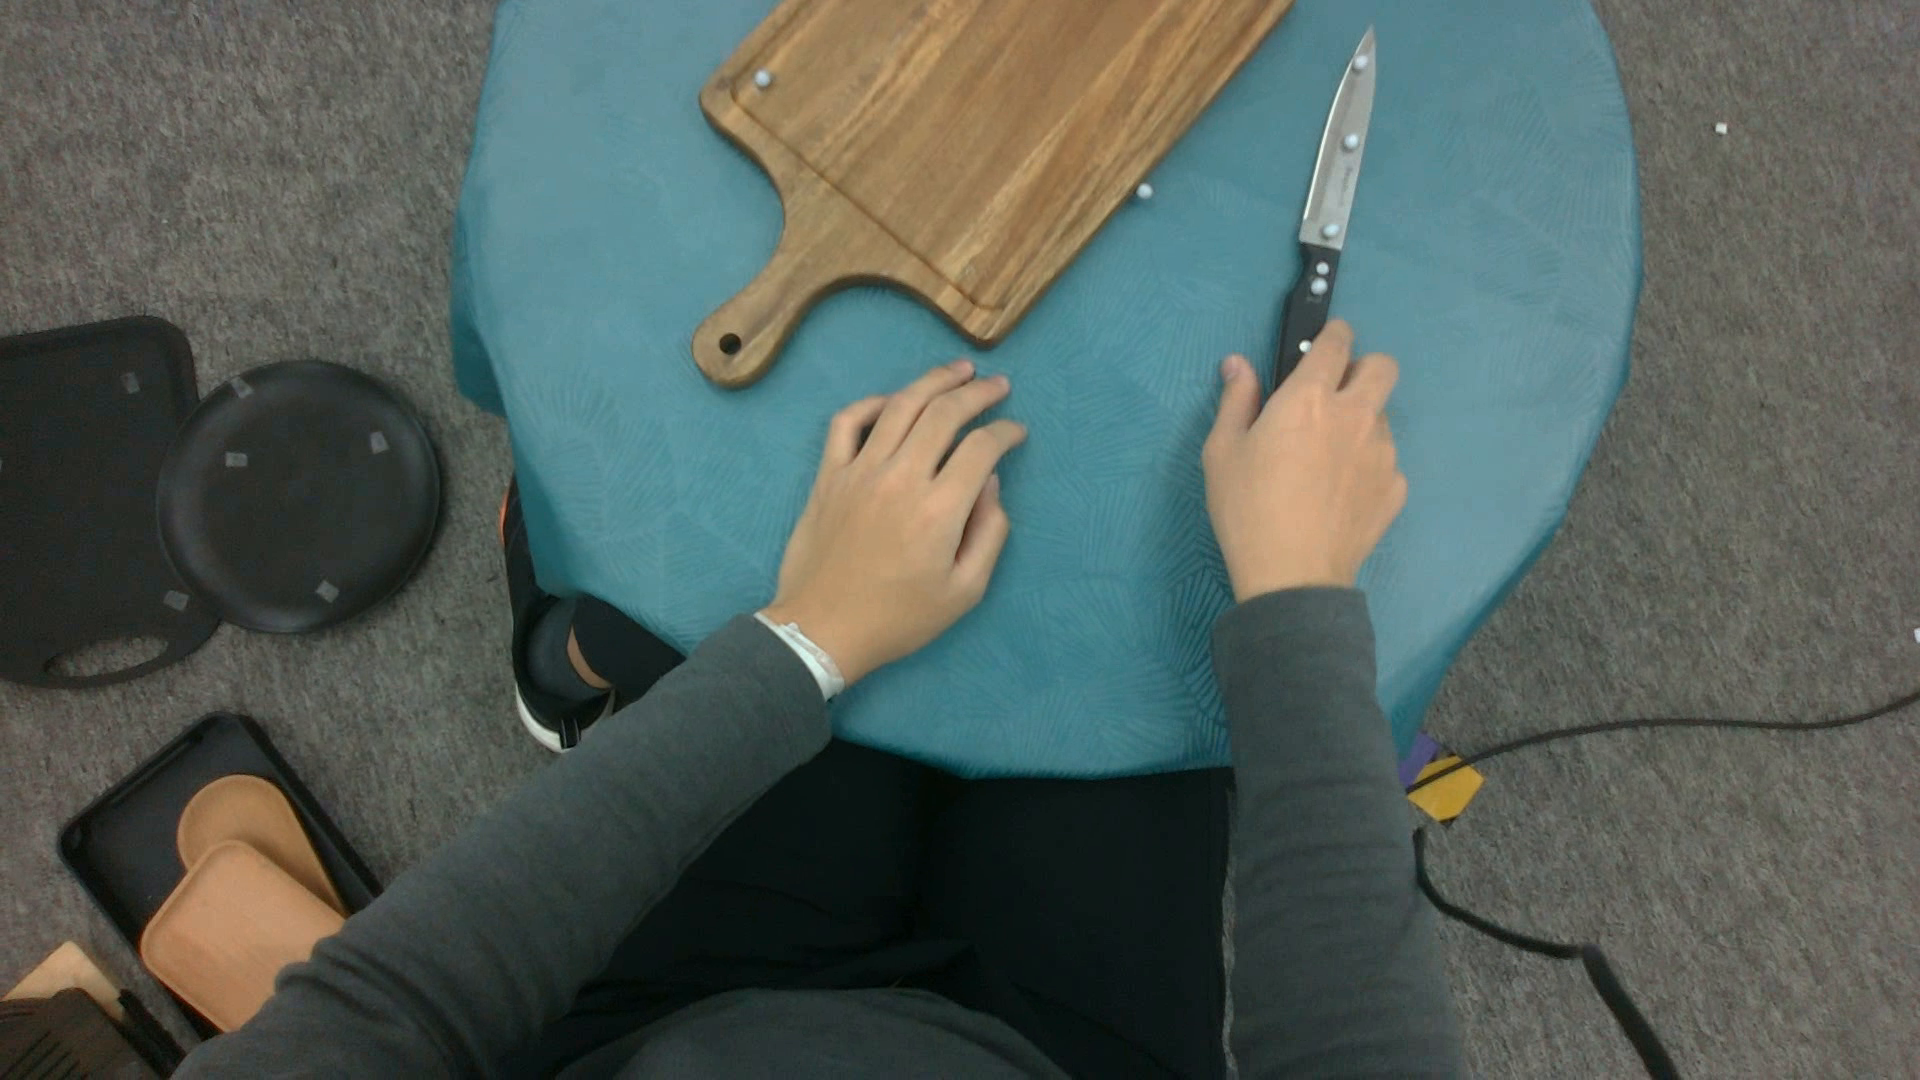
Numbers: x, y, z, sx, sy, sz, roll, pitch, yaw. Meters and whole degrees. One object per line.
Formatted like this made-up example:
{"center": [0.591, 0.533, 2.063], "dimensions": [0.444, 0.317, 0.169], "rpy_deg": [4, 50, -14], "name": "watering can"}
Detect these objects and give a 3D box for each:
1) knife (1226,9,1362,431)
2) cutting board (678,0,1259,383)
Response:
{"center": [0.176, -0.165, 0.700], "dimensions": [0.024, 0.016, 0.238], "rpy_deg": [18, 80, -1], "name": "knife"}
{"center": [-0.021, -0.219, 0.694], "dimensions": [0.201, 0.023, 0.352], "rpy_deg": [39, 84, 3], "name": "cutting board"}
